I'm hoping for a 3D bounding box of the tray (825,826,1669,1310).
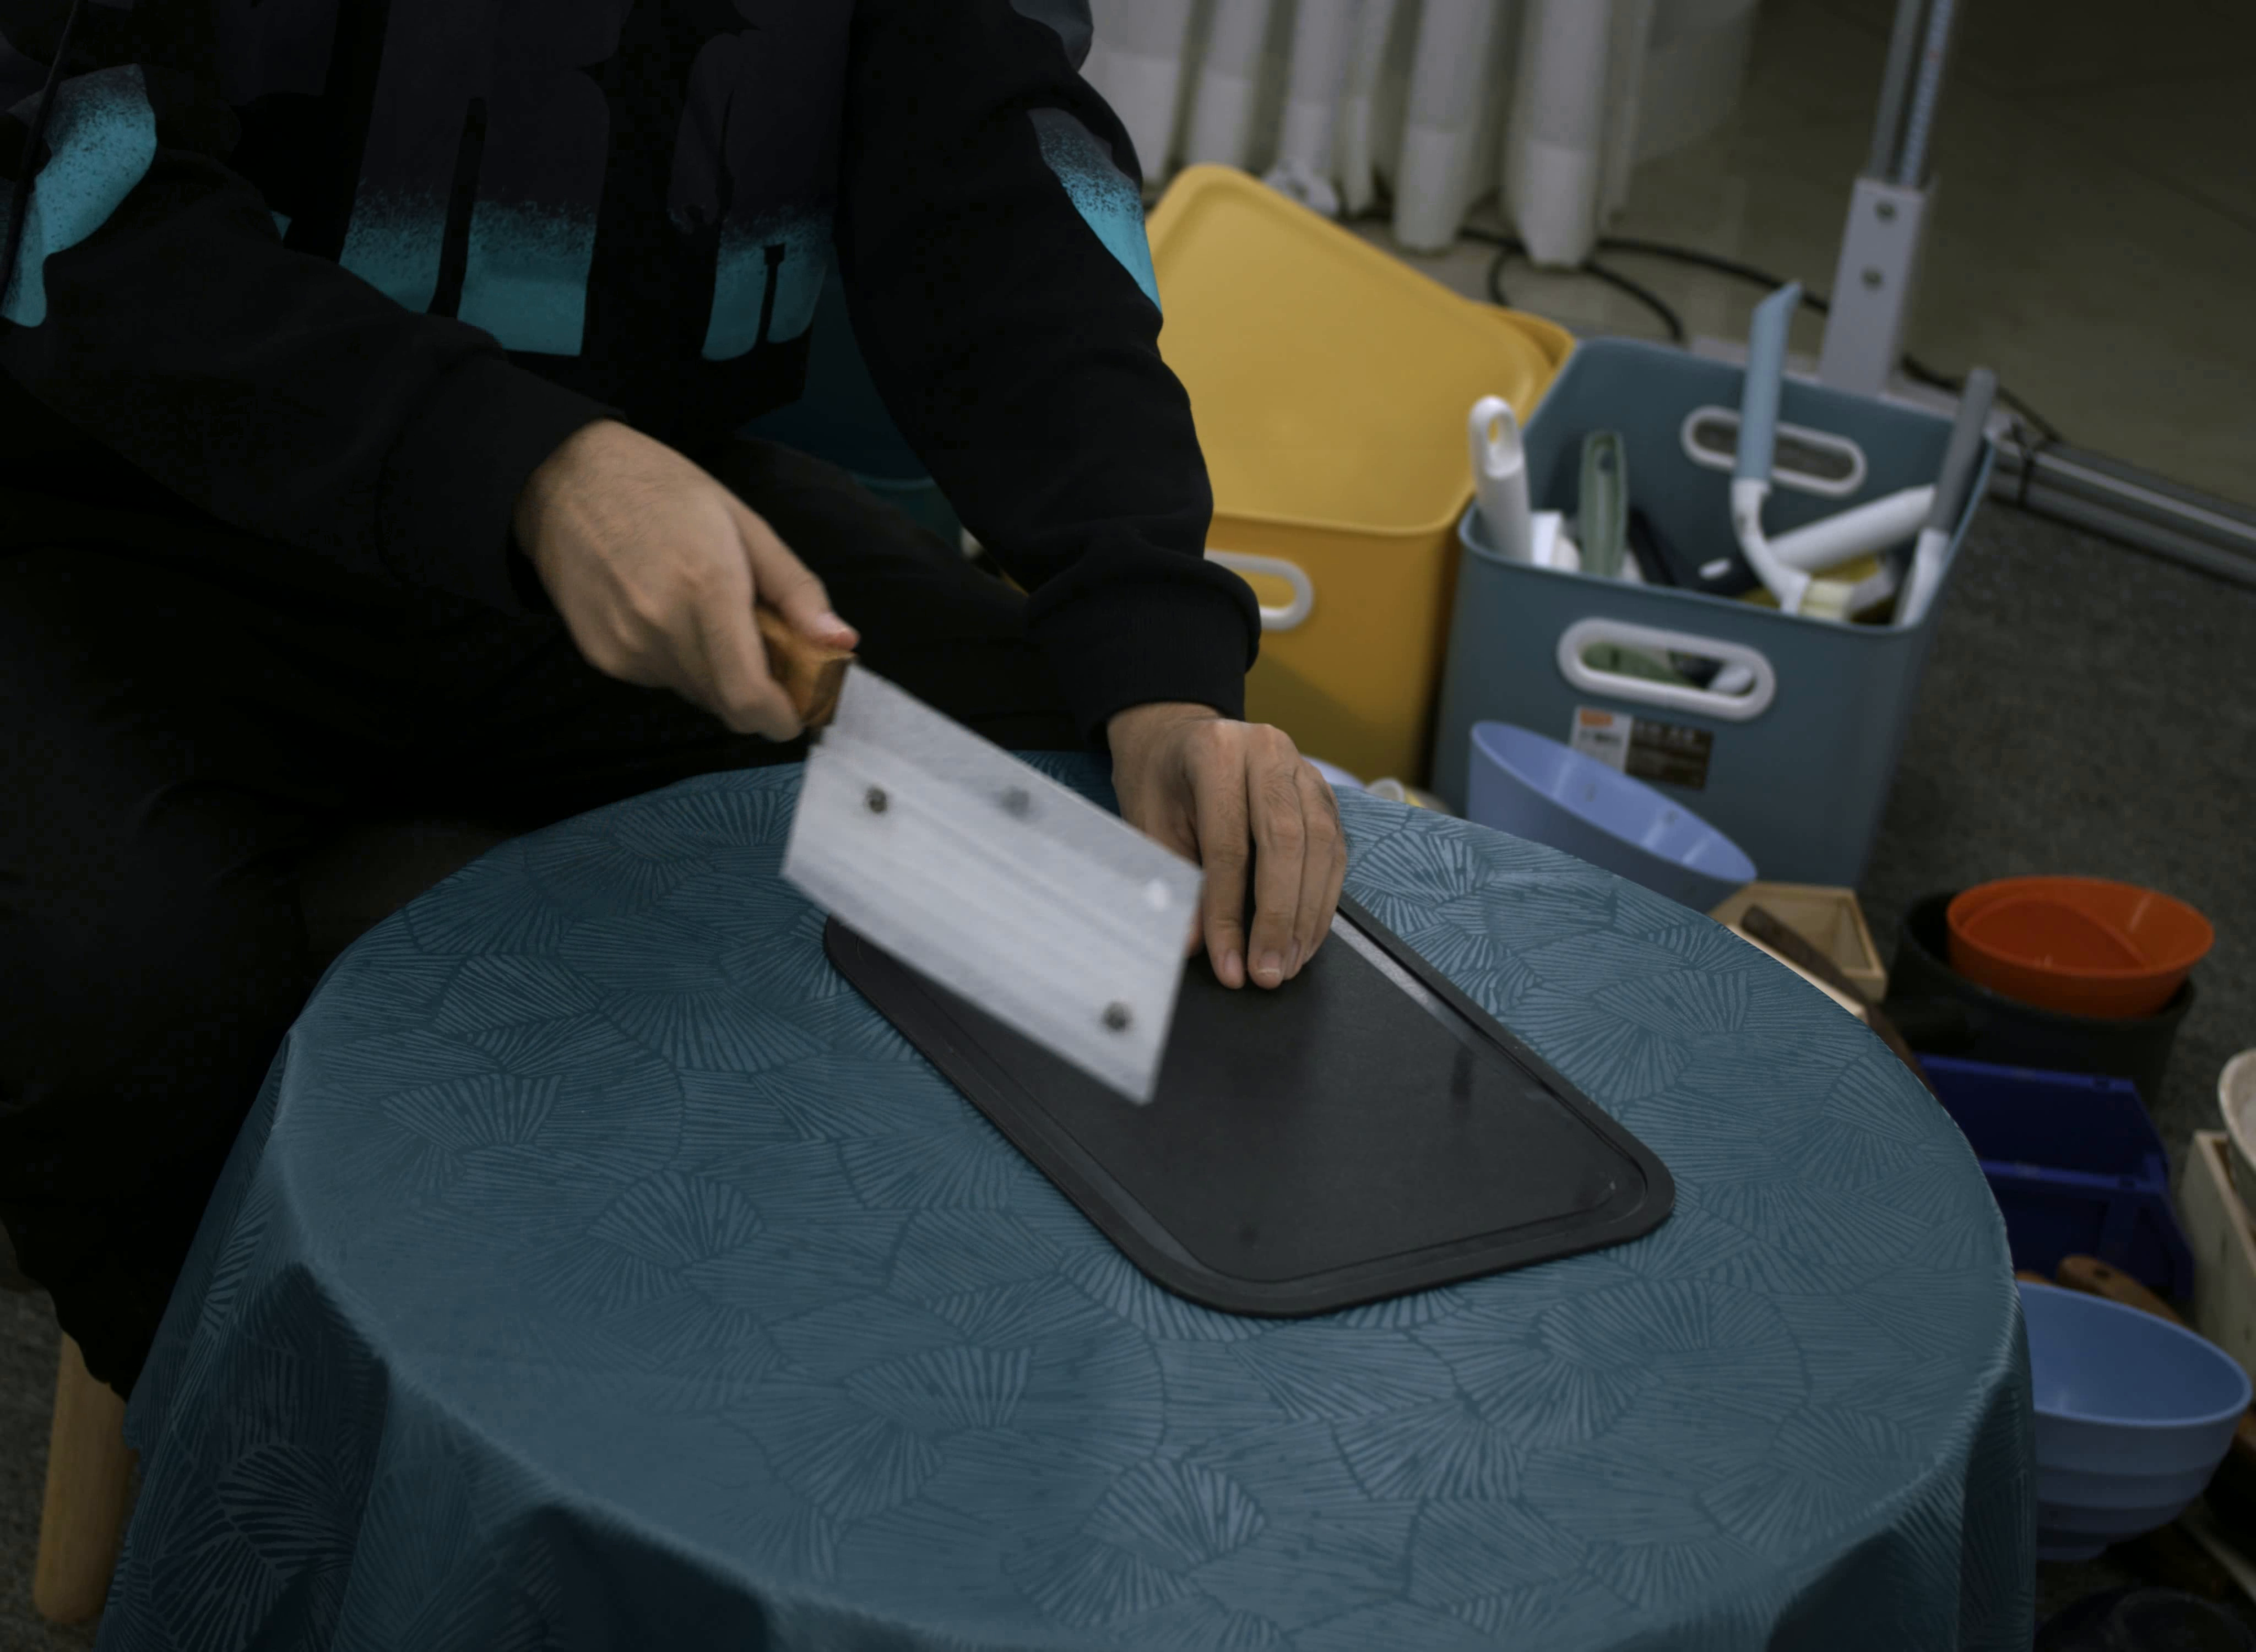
[{"bbox_3d":[0.033,0.076,1.894,0.210,0.010,0.328,-10,31,-29],"label":"tray"}]

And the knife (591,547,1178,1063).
[{"bbox_3d":[-0.094,-0.006,1.866,0.021,0.093,0.308,-6,28,-45],"label":"knife"}]
